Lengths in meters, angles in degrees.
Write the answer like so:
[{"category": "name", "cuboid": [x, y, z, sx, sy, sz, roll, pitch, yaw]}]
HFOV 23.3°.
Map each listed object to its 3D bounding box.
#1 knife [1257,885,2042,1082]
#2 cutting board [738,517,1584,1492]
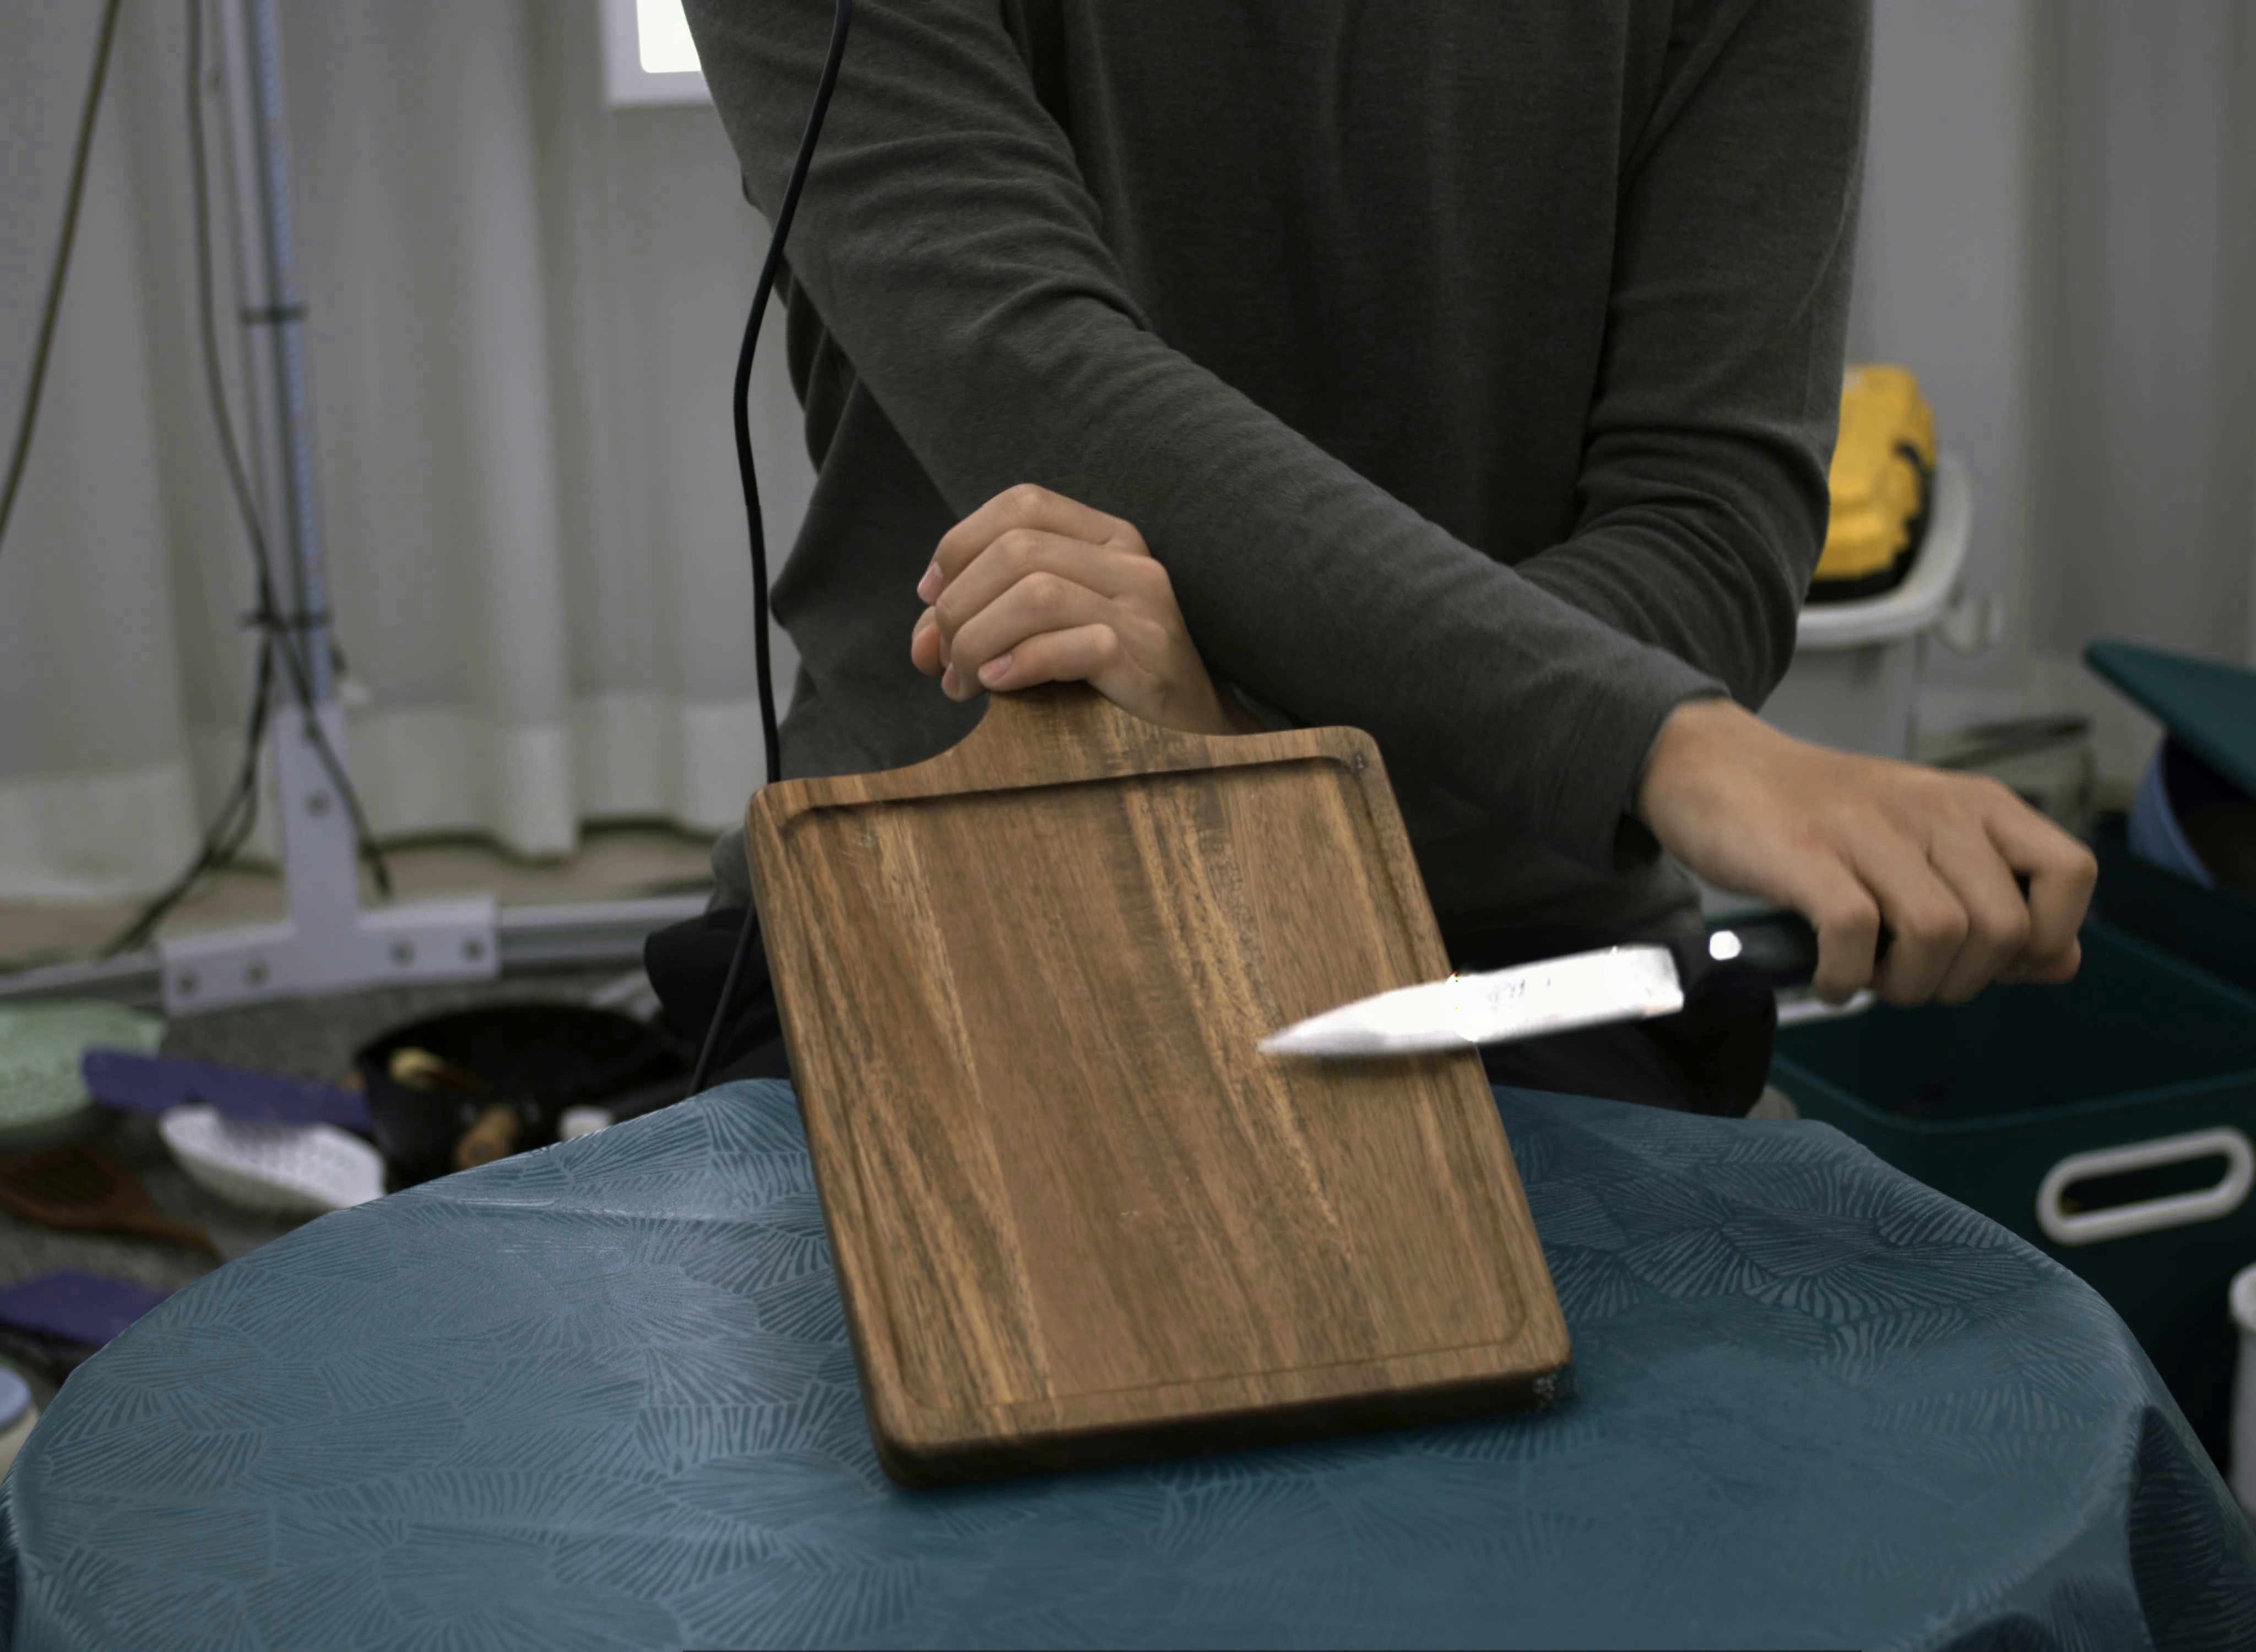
[{"category": "knife", "cuboid": [0.151, 0.047, 1.587, 0.237, 0.016, 0.025, -11, 53, -9]}, {"category": "cutting board", "cuboid": [-0.005, 0.037, 1.608, 0.200, 0.023, 0.358, -6, 47, -11]}]
